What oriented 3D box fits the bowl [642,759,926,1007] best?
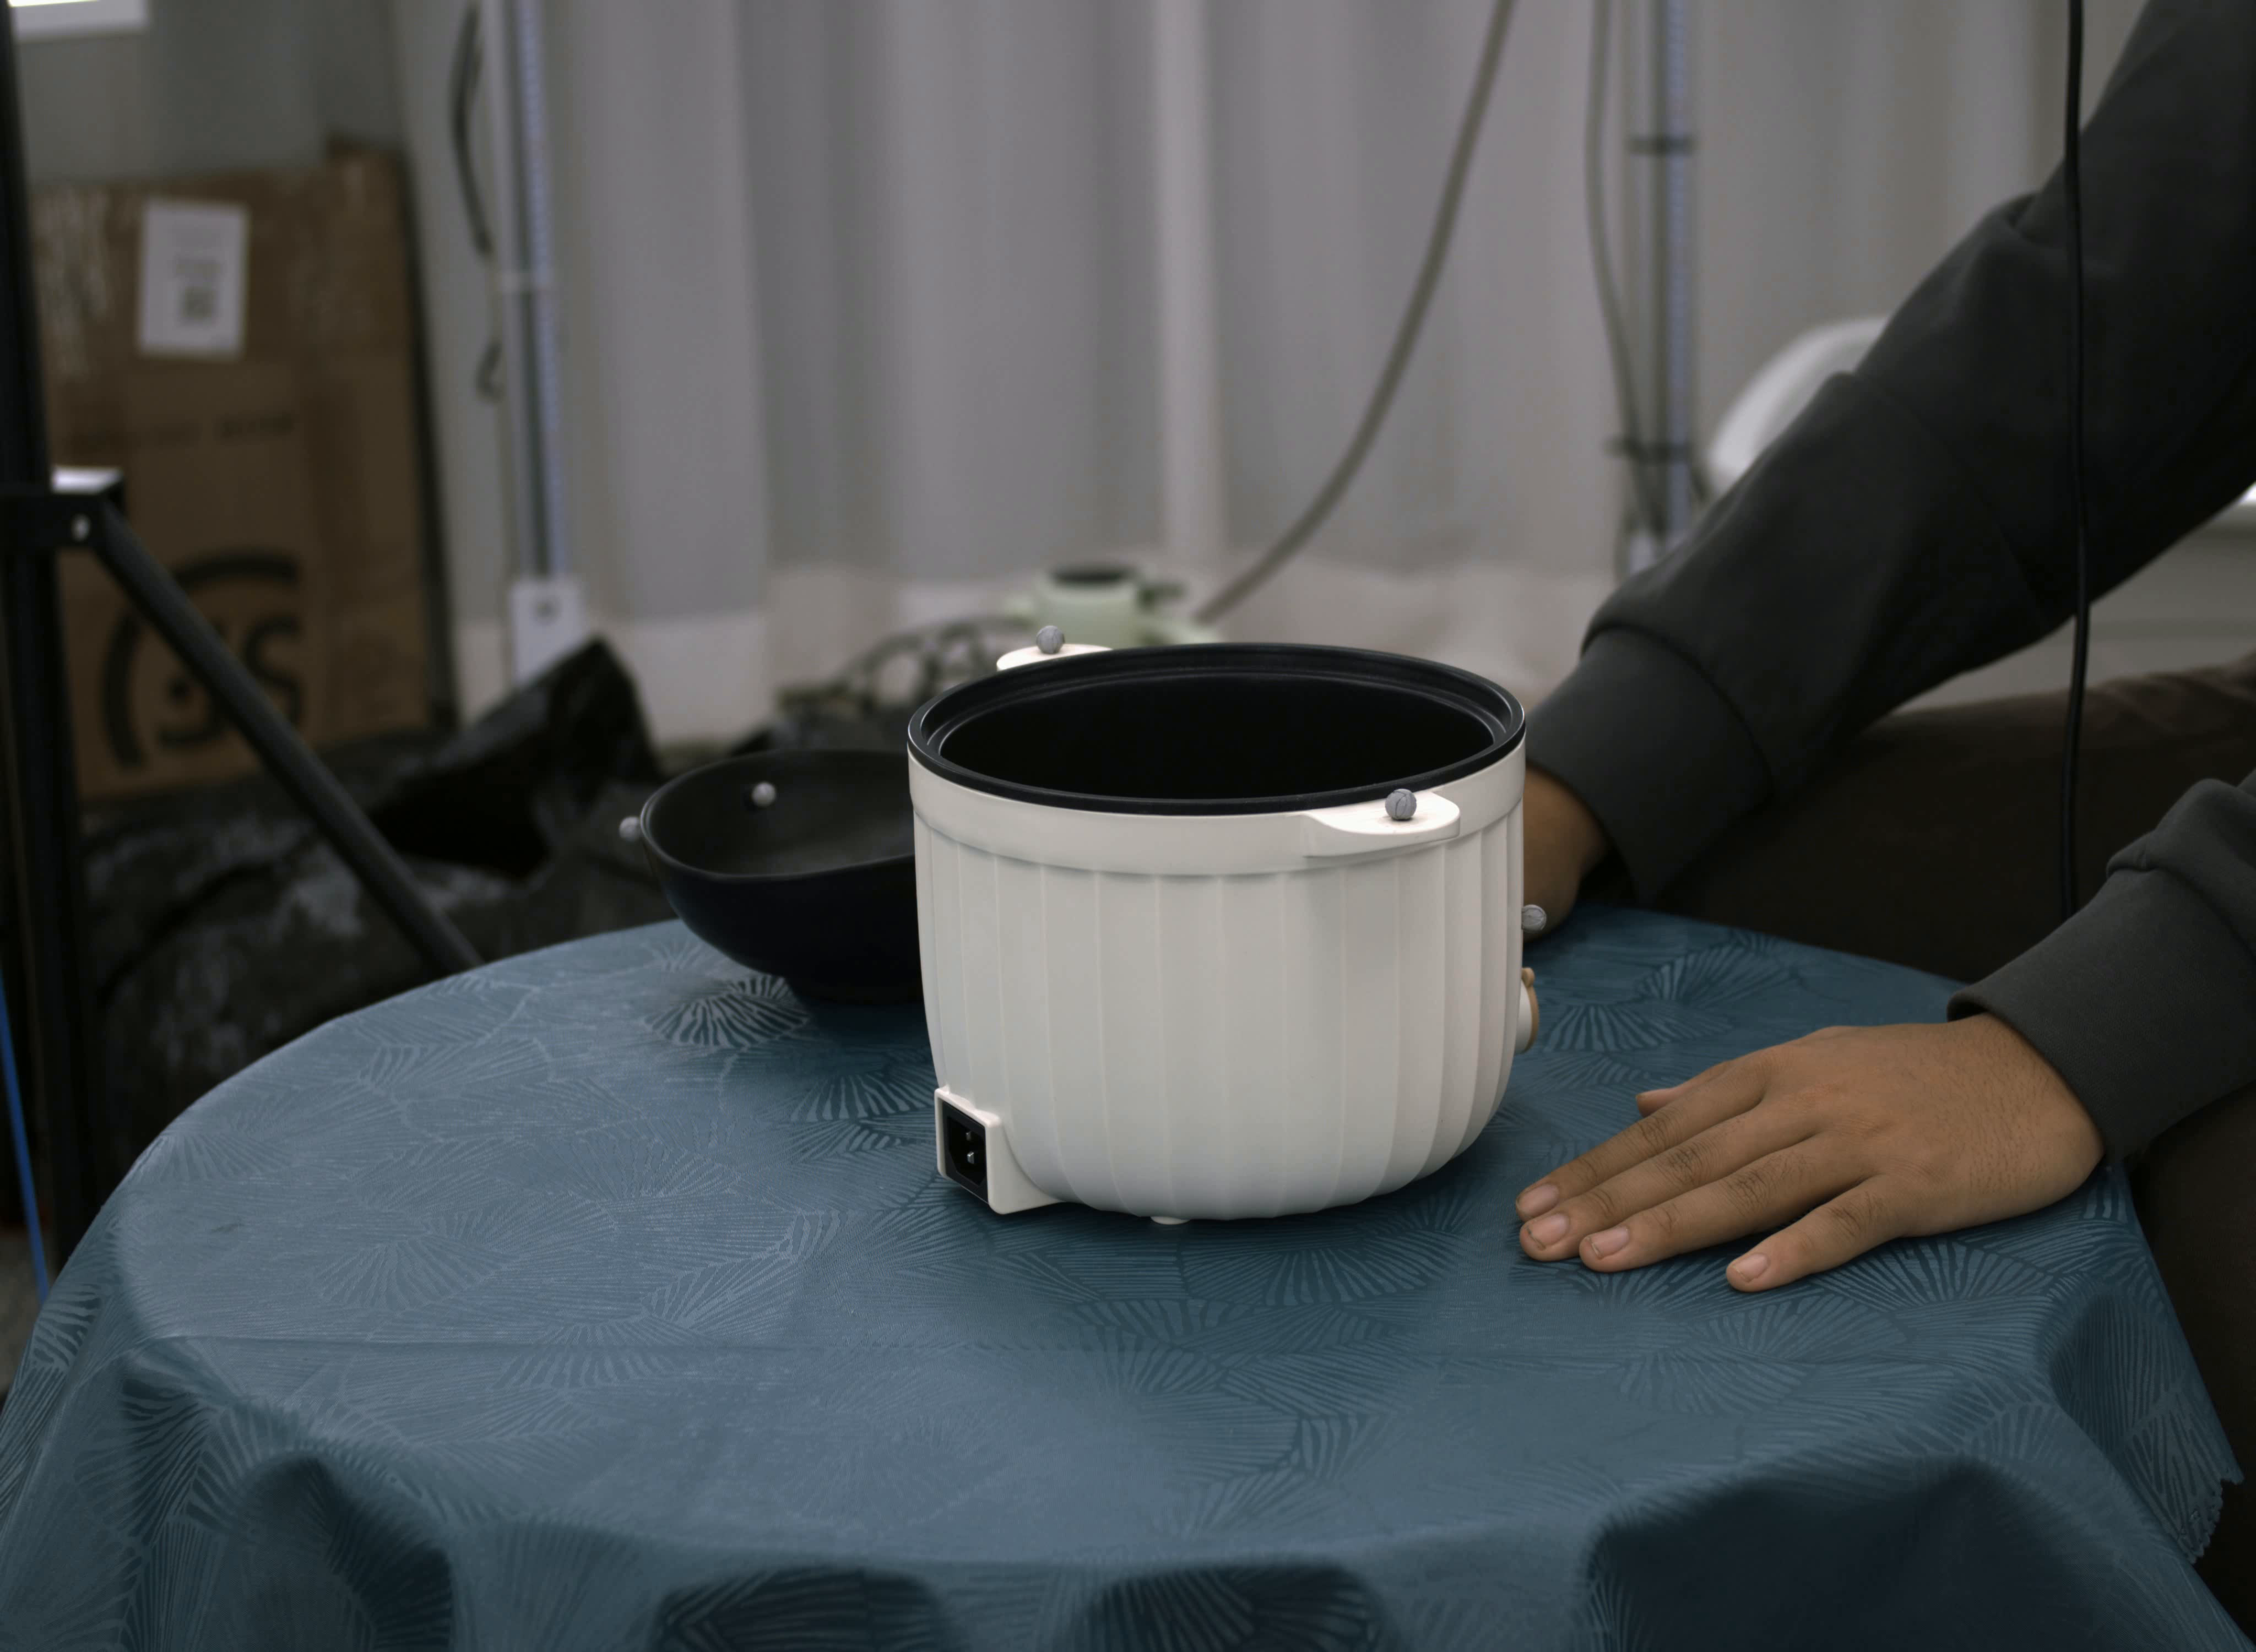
[{"bbox_3d":[-0.082,0.020,1.762,0.140,0.067,0.166,11,19,39],"label":"bowl"}]

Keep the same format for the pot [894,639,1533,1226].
[{"bbox_3d":[0.031,0.031,1.571,0.187,0.142,0.245,-13,20,-25],"label":"pot"}]
